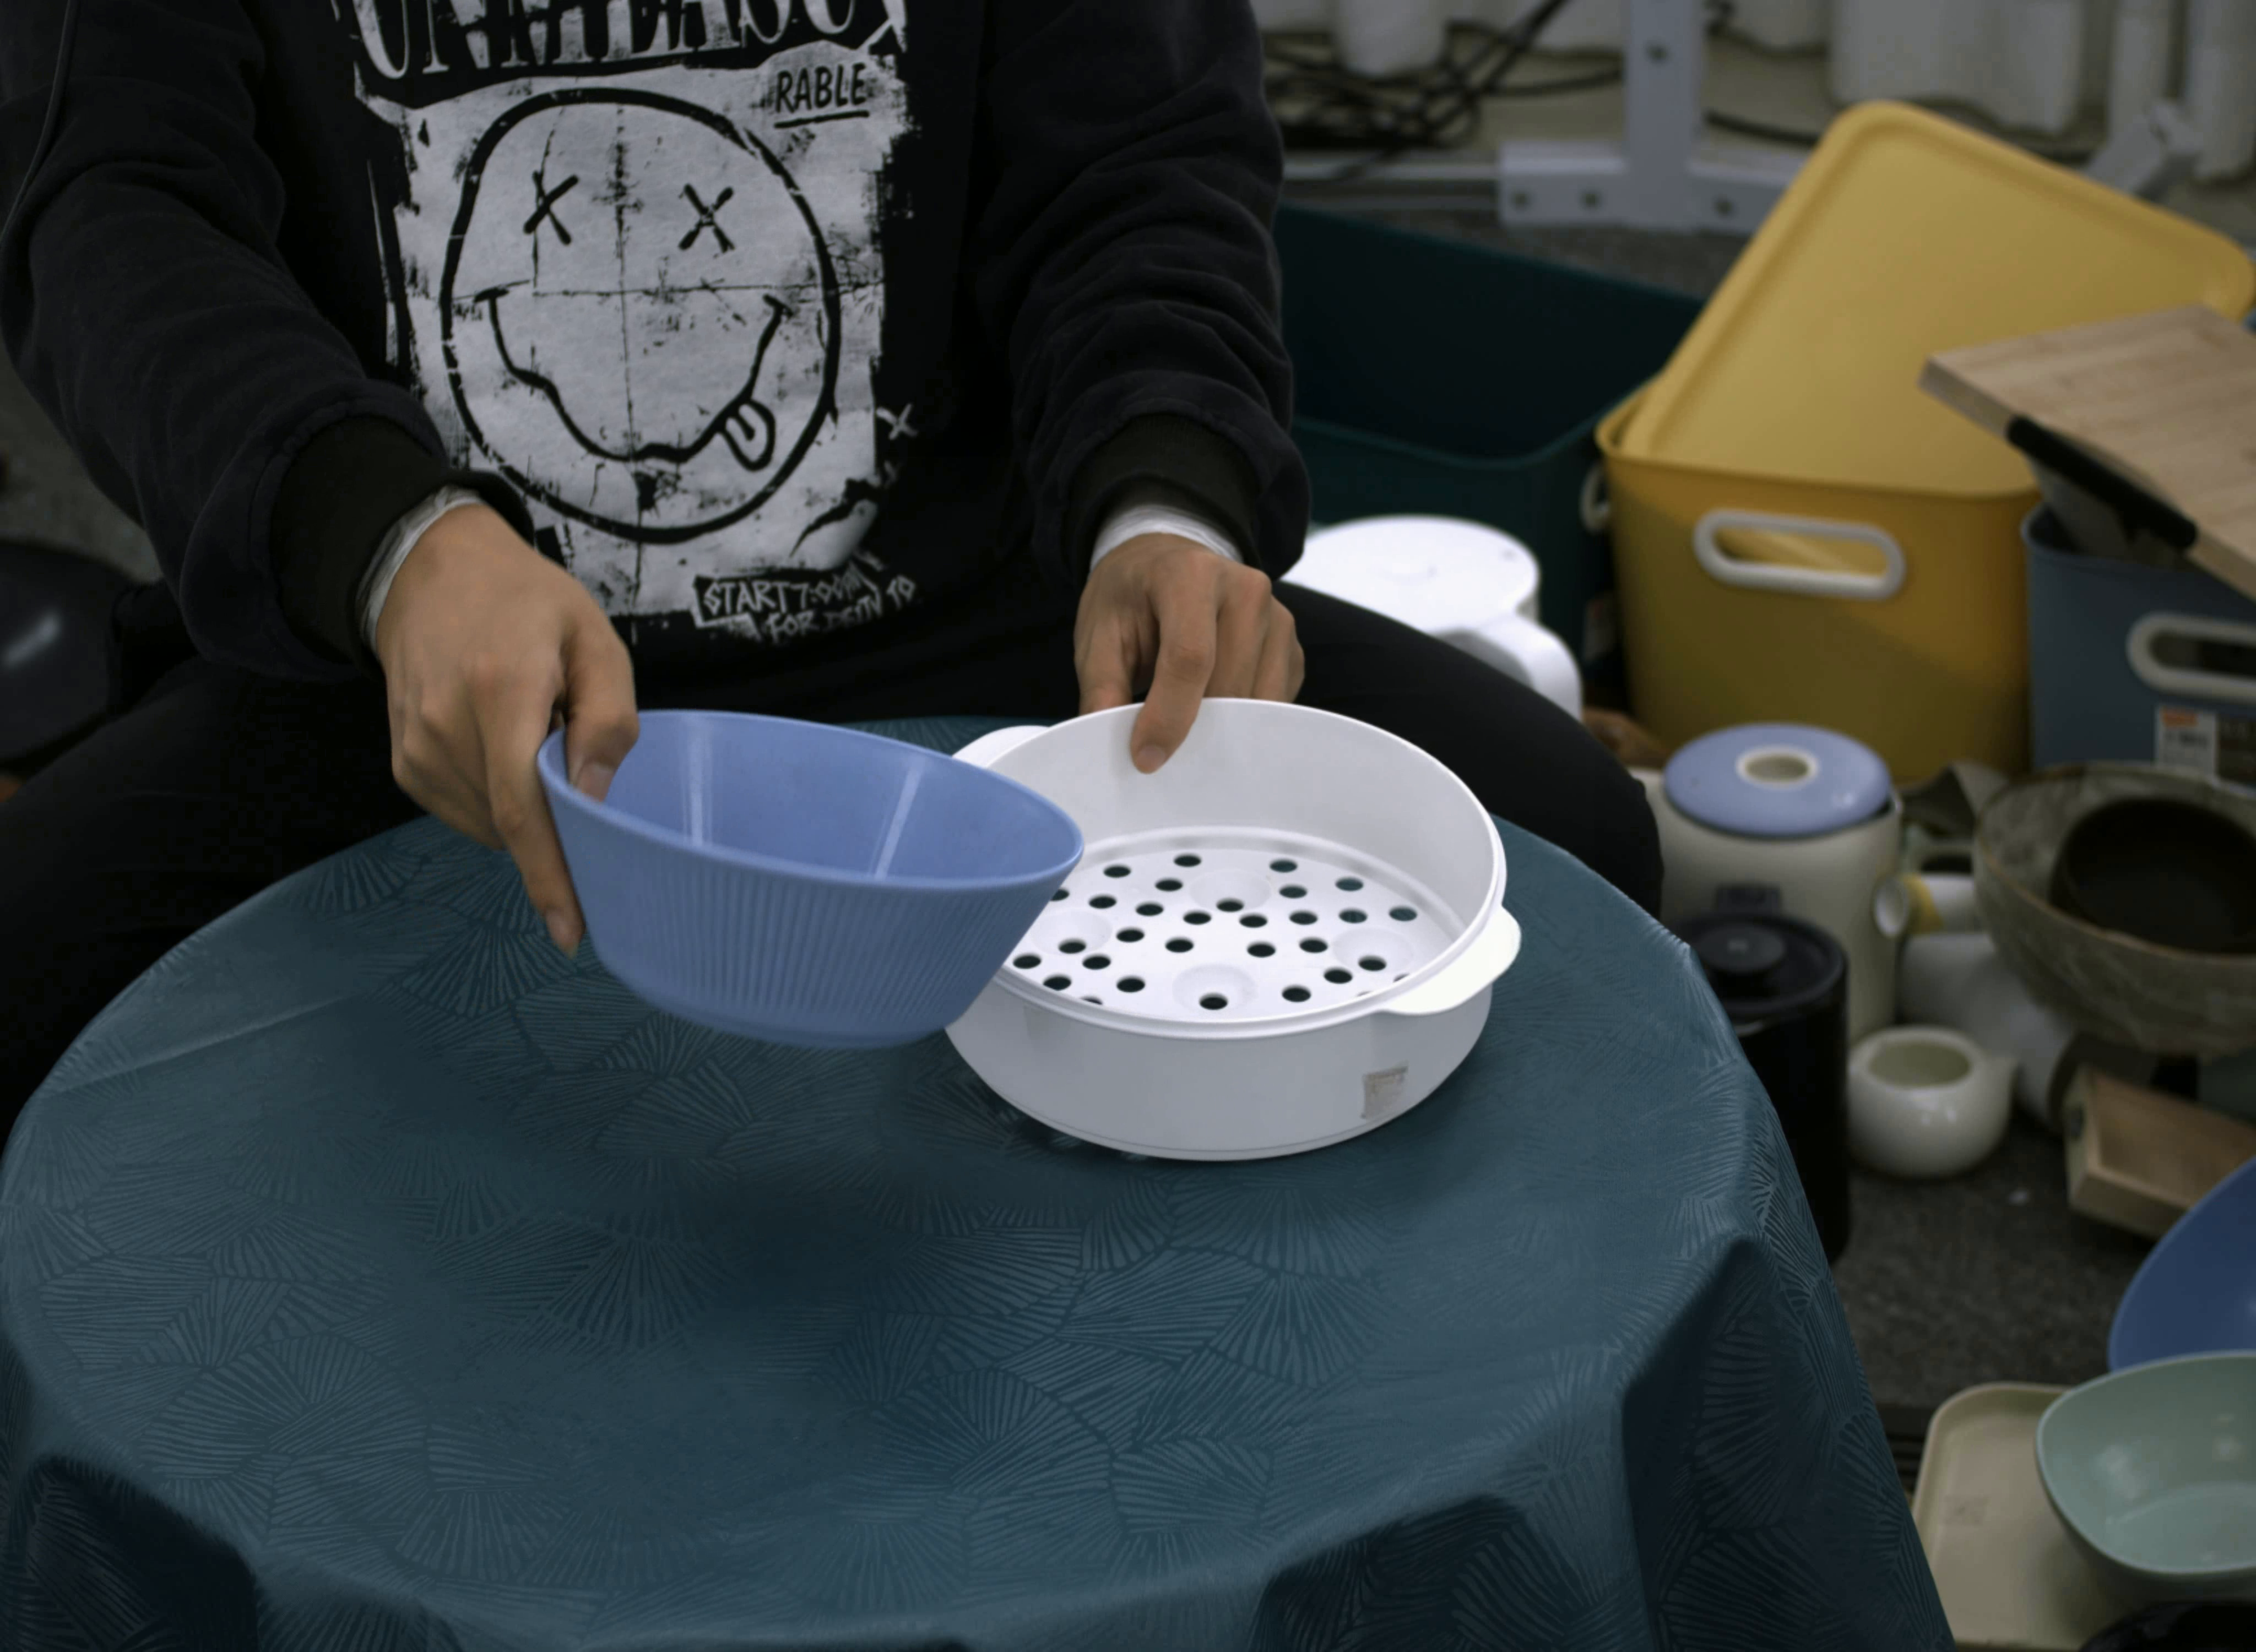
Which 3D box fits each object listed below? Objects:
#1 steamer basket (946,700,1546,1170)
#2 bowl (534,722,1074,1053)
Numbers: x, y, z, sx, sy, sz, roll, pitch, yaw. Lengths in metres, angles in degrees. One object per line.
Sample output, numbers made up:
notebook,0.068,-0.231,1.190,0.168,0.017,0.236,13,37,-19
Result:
steamer basket,0.035,0.038,1.933,0.230,0.068,0.205,23,40,28
bowl,-0.108,0.023,1.801,0.175,0.070,0.177,10,15,-2
